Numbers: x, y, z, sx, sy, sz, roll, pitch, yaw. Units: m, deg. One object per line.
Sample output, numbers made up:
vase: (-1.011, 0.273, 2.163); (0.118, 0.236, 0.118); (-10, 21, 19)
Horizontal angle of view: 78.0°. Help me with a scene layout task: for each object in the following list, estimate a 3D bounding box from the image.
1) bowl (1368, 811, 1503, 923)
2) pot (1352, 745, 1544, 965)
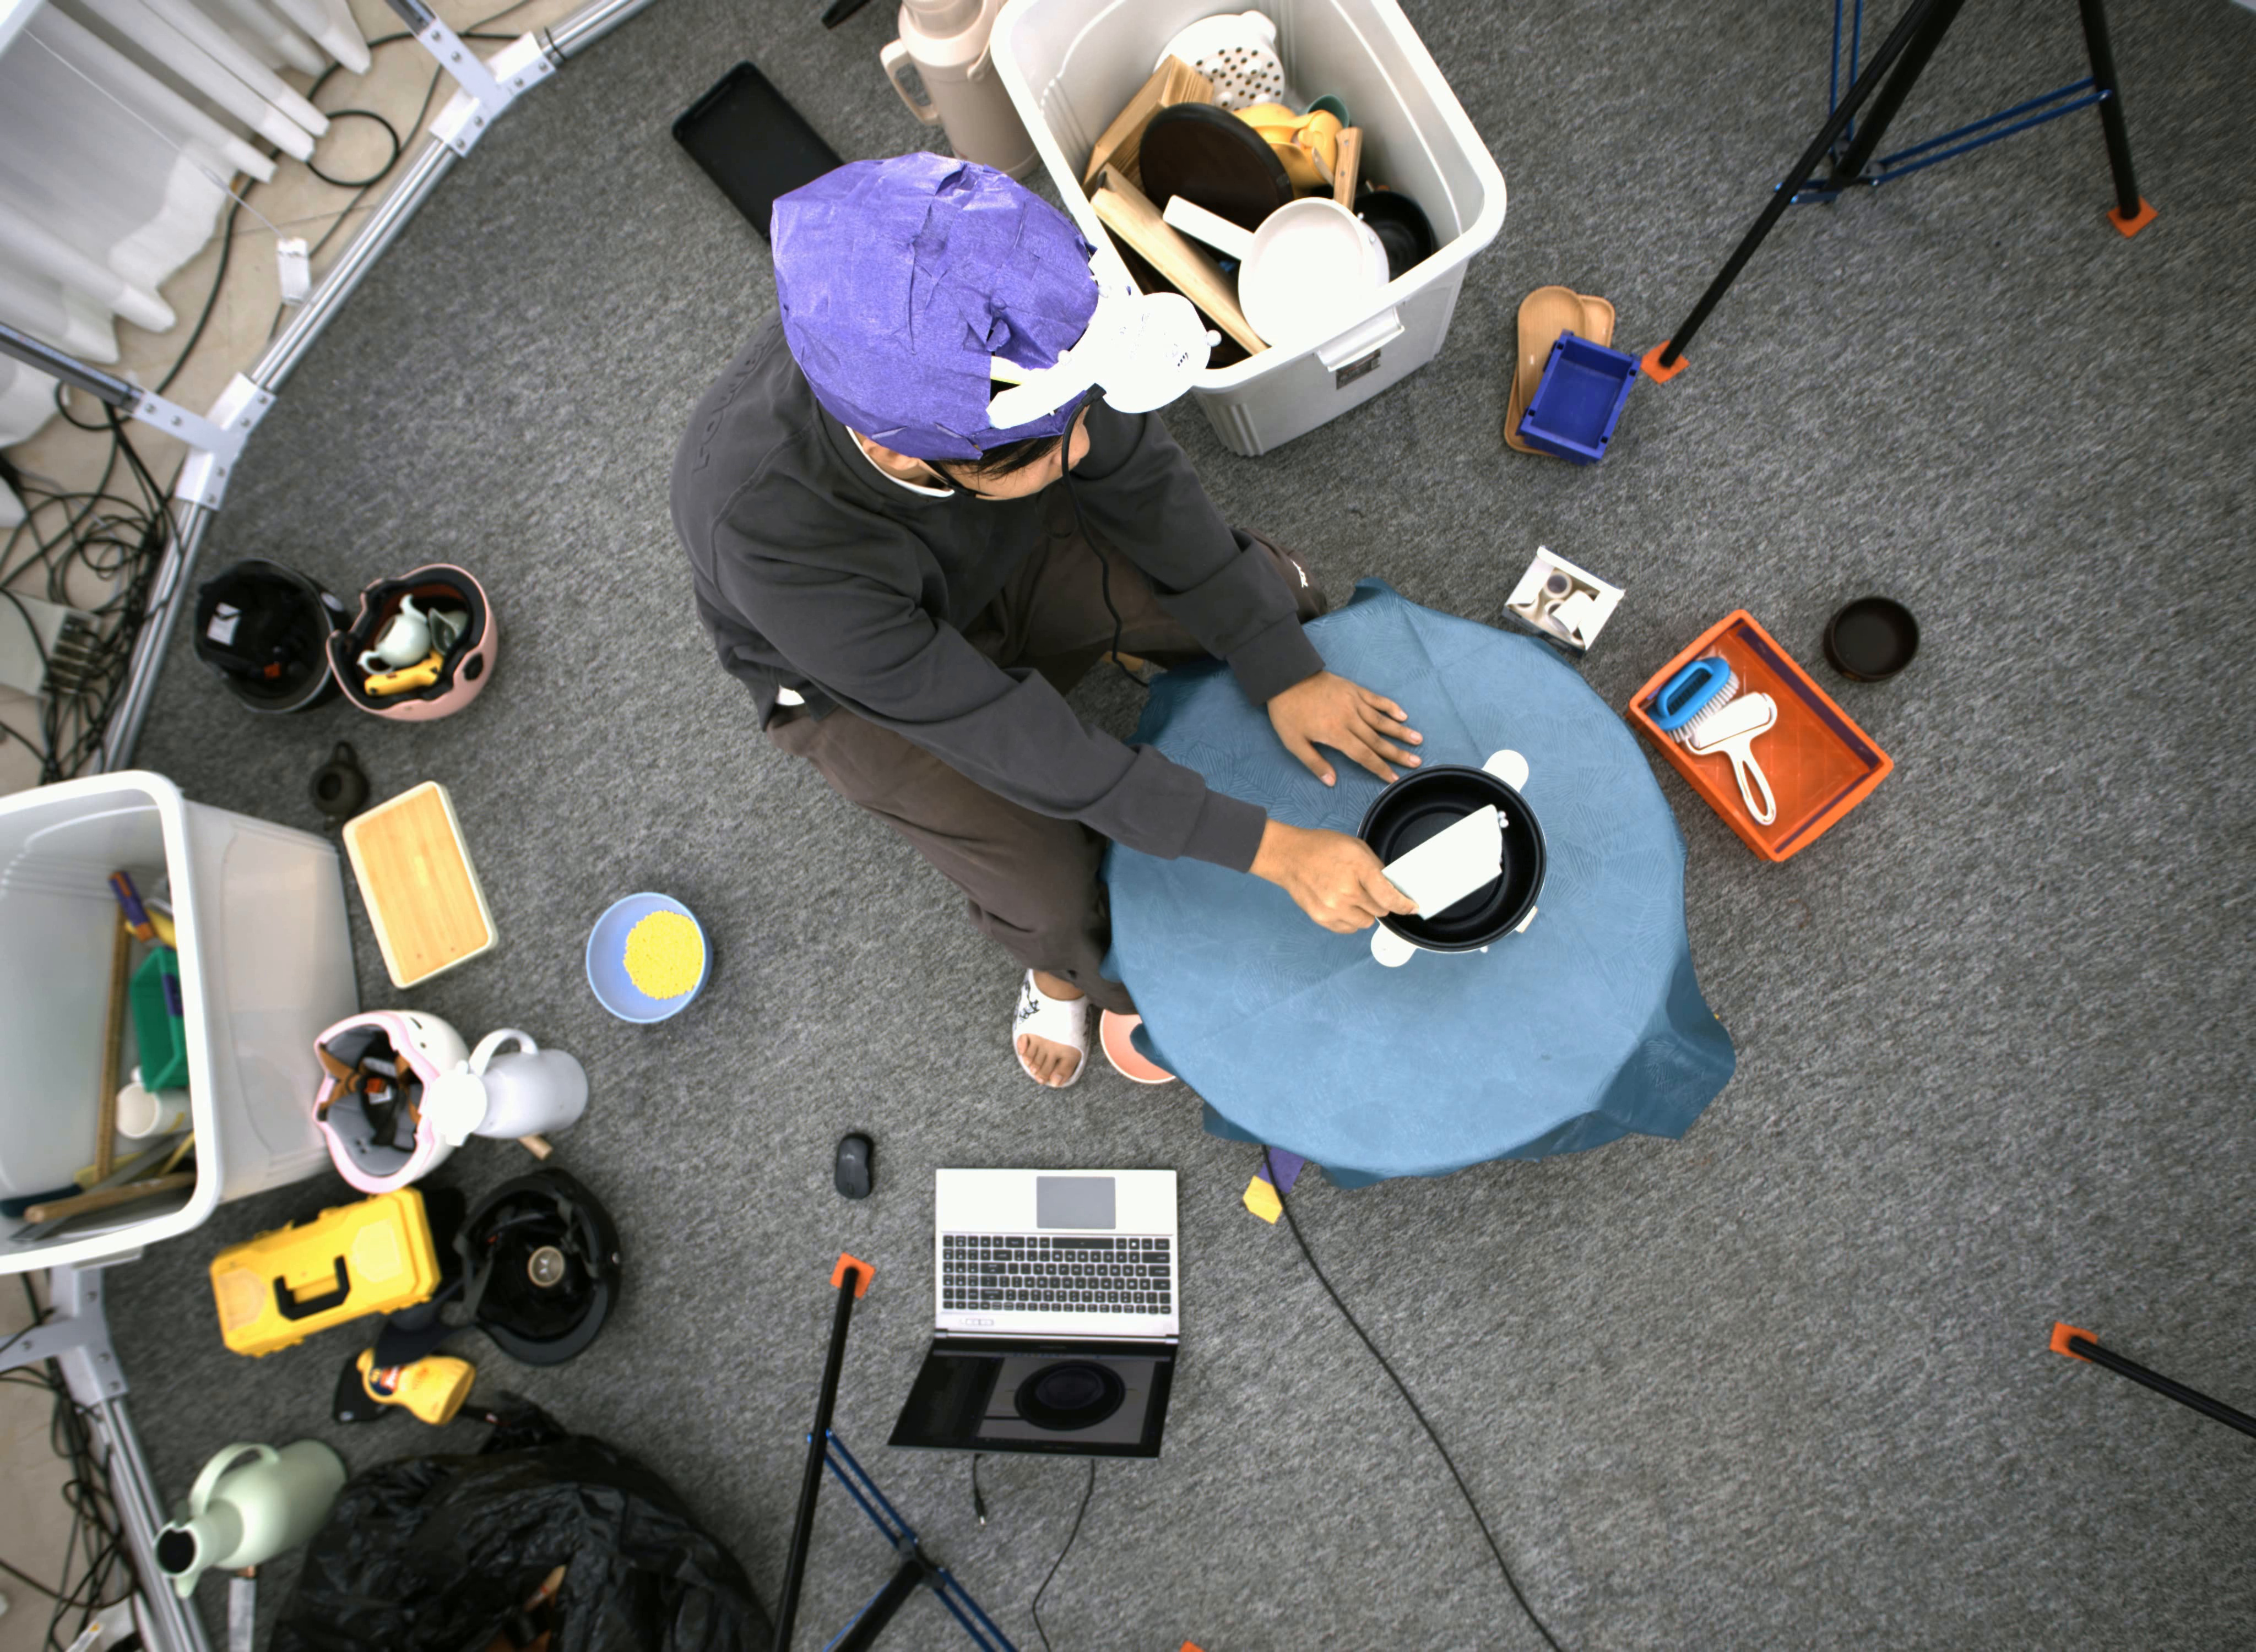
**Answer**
bowl: (0.302, 0.045, 1.307); (0.152, 0.152, 0.058); (-31, 78, 6)
pot: (0.324, 0.035, 1.381); (0.190, 0.142, 0.241); (32, 94, 15)
